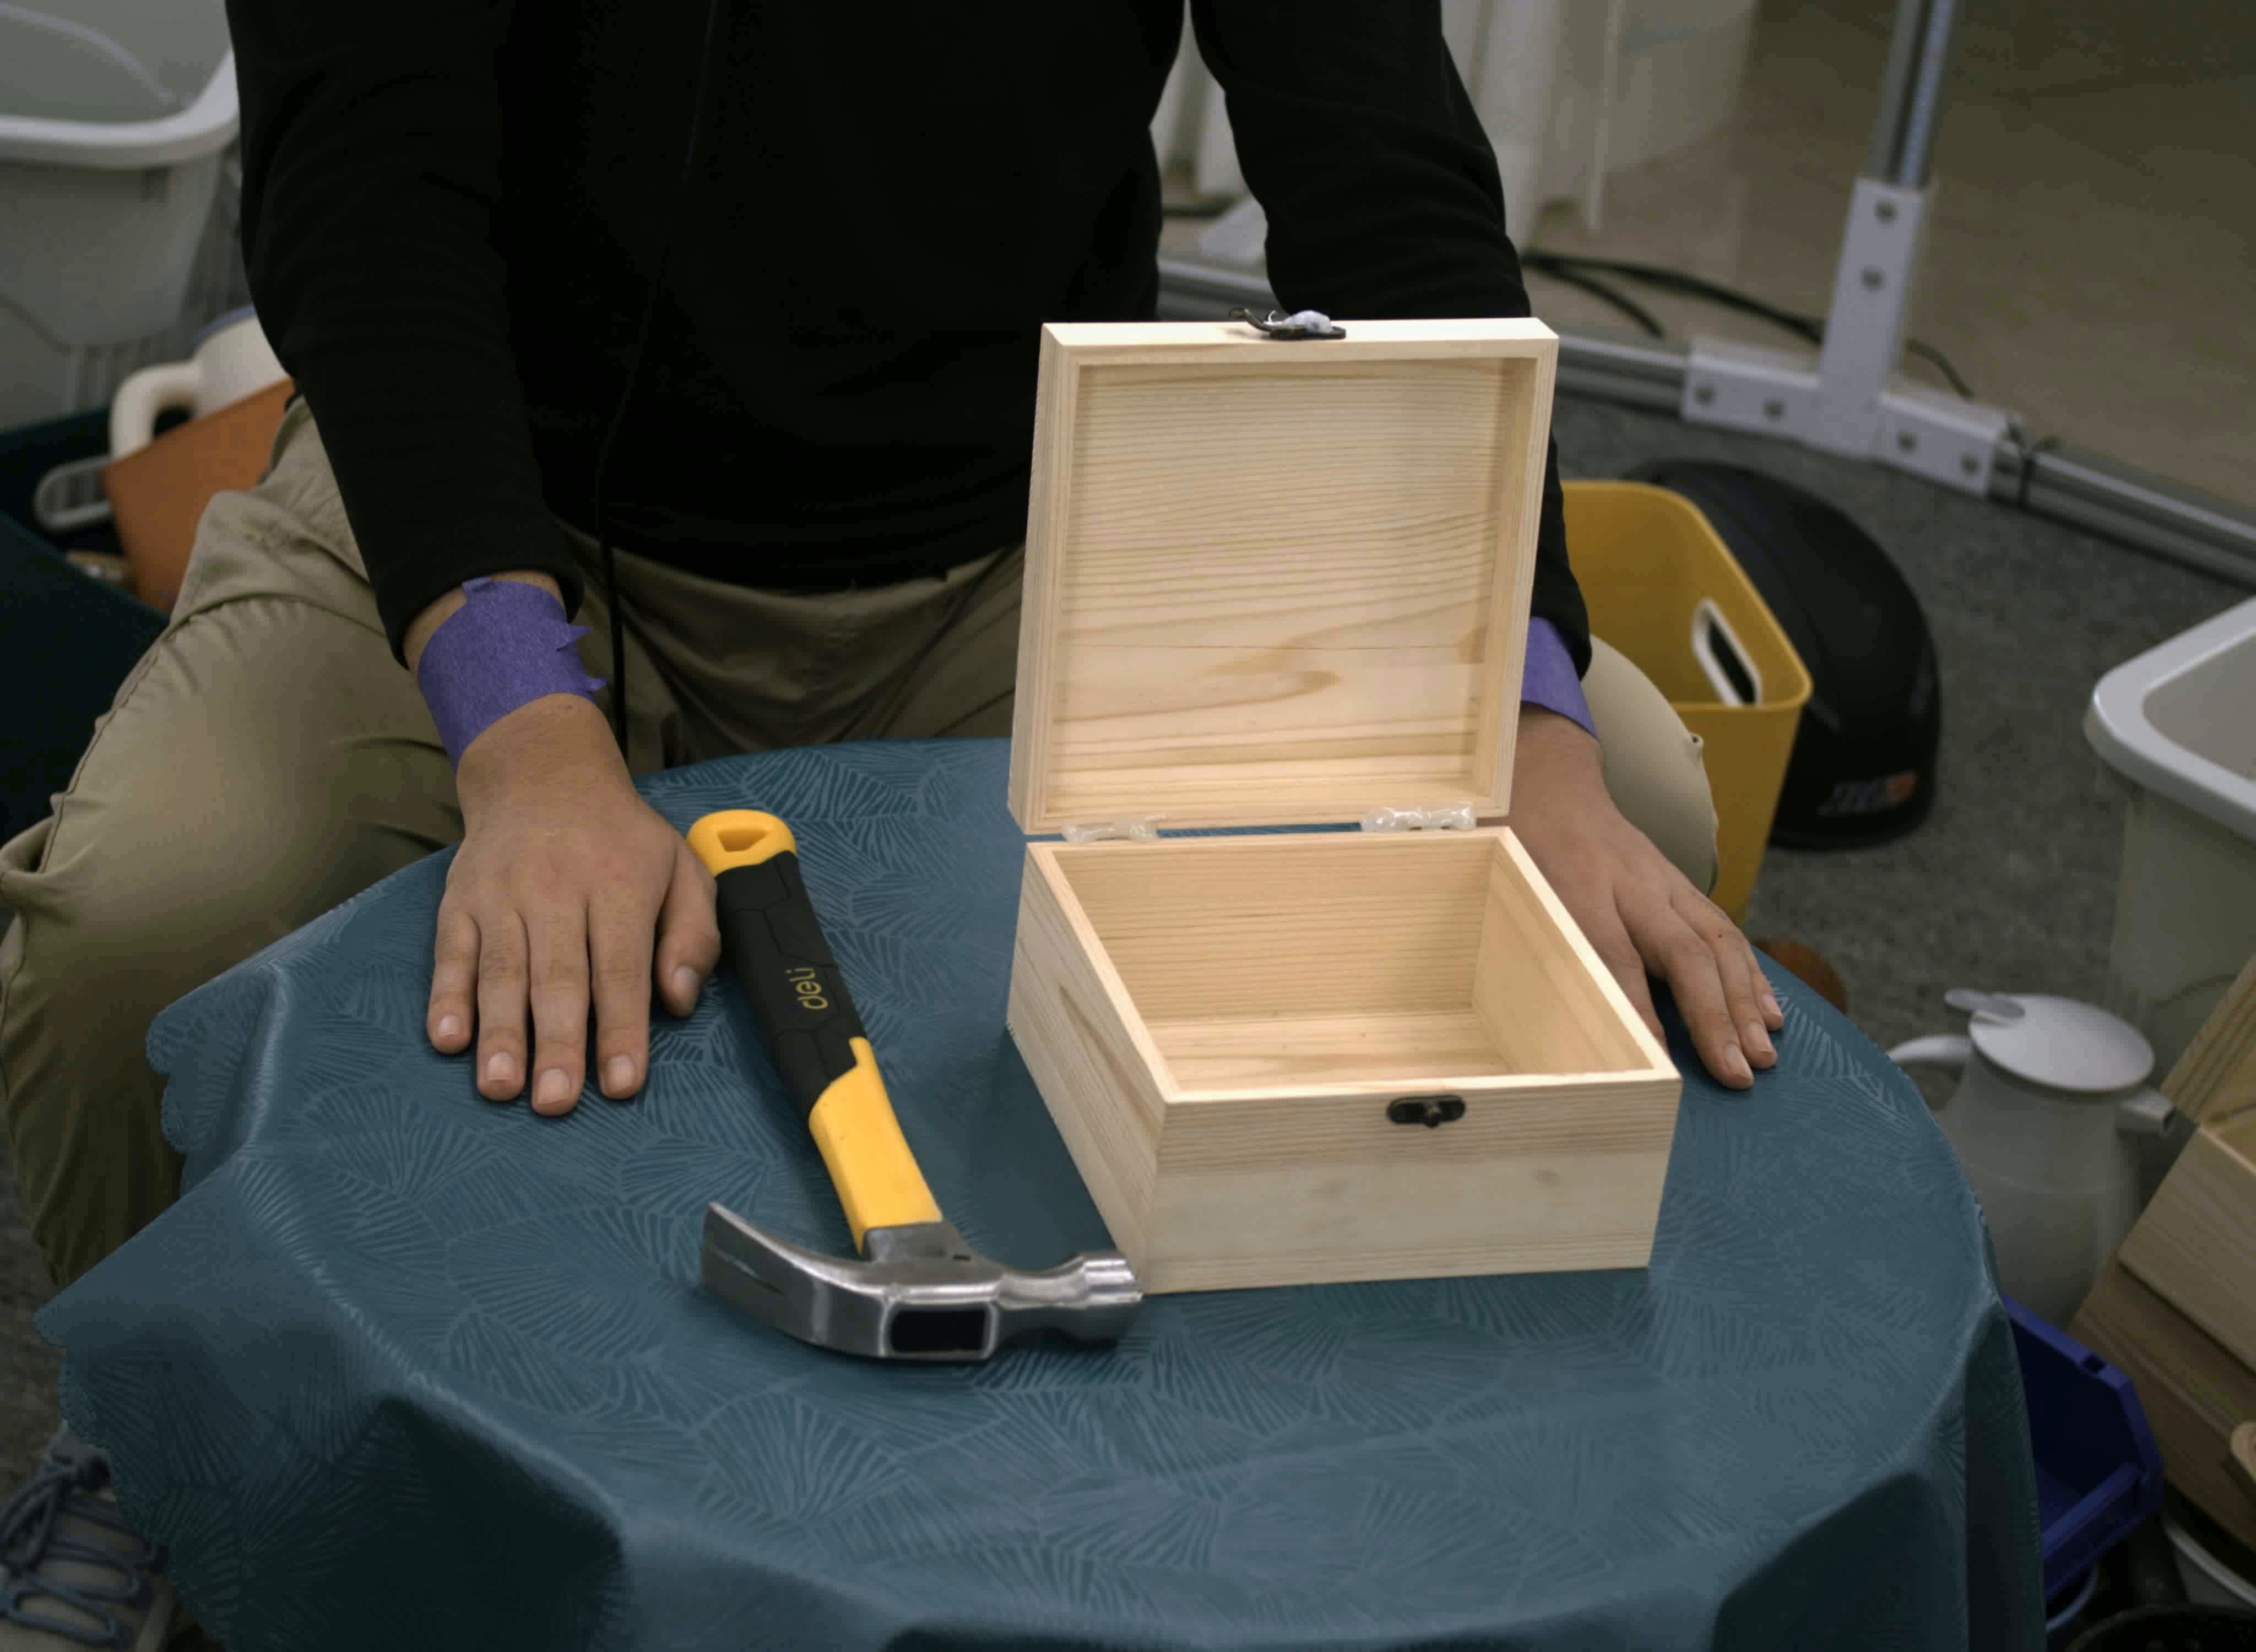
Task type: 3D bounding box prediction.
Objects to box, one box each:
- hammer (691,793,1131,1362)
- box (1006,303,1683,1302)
[{"bbox_3d":[-0.102,0.078,1.830,0.130,0.032,0.341,-1,29,-15],"label":"hammer"},{"bbox_3d":[0.070,-0.015,1.820,0.181,0.252,0.267,-4,28,-16],"label":"box"}]
